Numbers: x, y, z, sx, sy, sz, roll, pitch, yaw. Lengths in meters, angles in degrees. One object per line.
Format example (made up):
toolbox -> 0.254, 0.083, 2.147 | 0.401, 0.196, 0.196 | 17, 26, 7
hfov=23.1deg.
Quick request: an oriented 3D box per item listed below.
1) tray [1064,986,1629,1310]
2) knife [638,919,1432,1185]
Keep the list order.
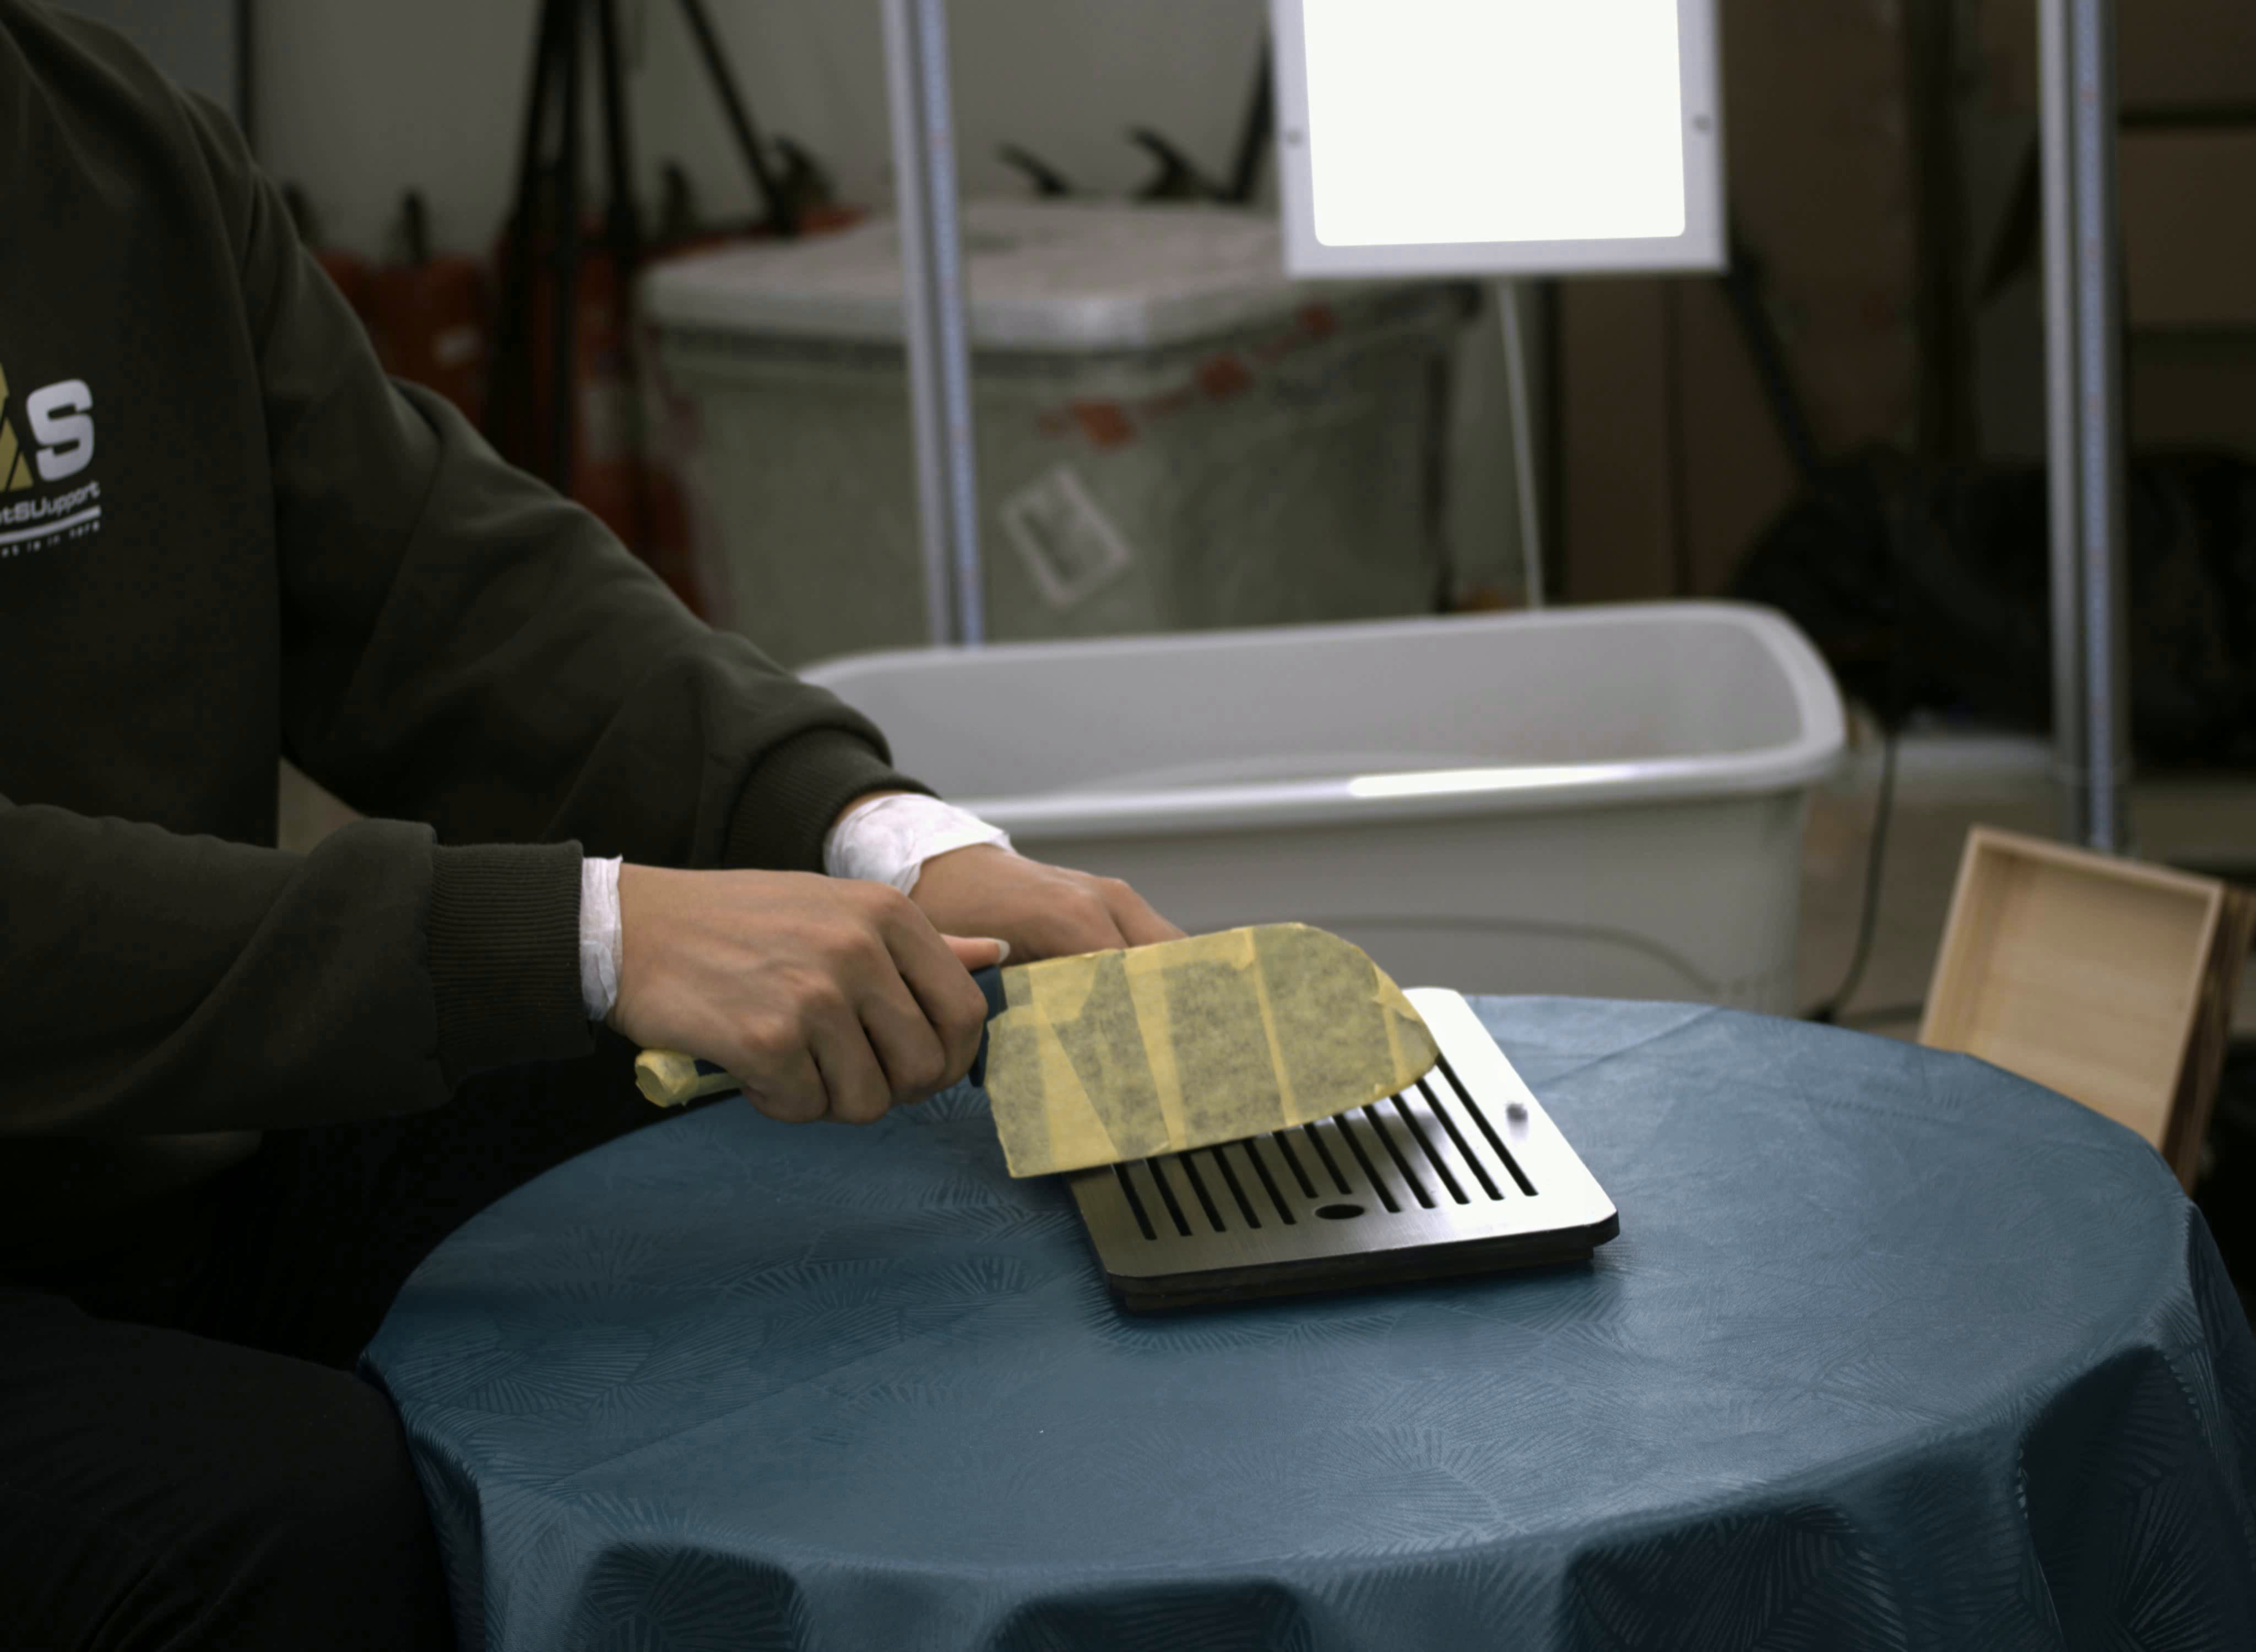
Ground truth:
tray -> 0.063, 0.109, 1.913 | 0.169, 0.019, 0.307 | -7, 13, -5
knife -> -0.027, 0.081, 1.881 | 0.284, 0.081, 0.027 | -7, -15, -19
